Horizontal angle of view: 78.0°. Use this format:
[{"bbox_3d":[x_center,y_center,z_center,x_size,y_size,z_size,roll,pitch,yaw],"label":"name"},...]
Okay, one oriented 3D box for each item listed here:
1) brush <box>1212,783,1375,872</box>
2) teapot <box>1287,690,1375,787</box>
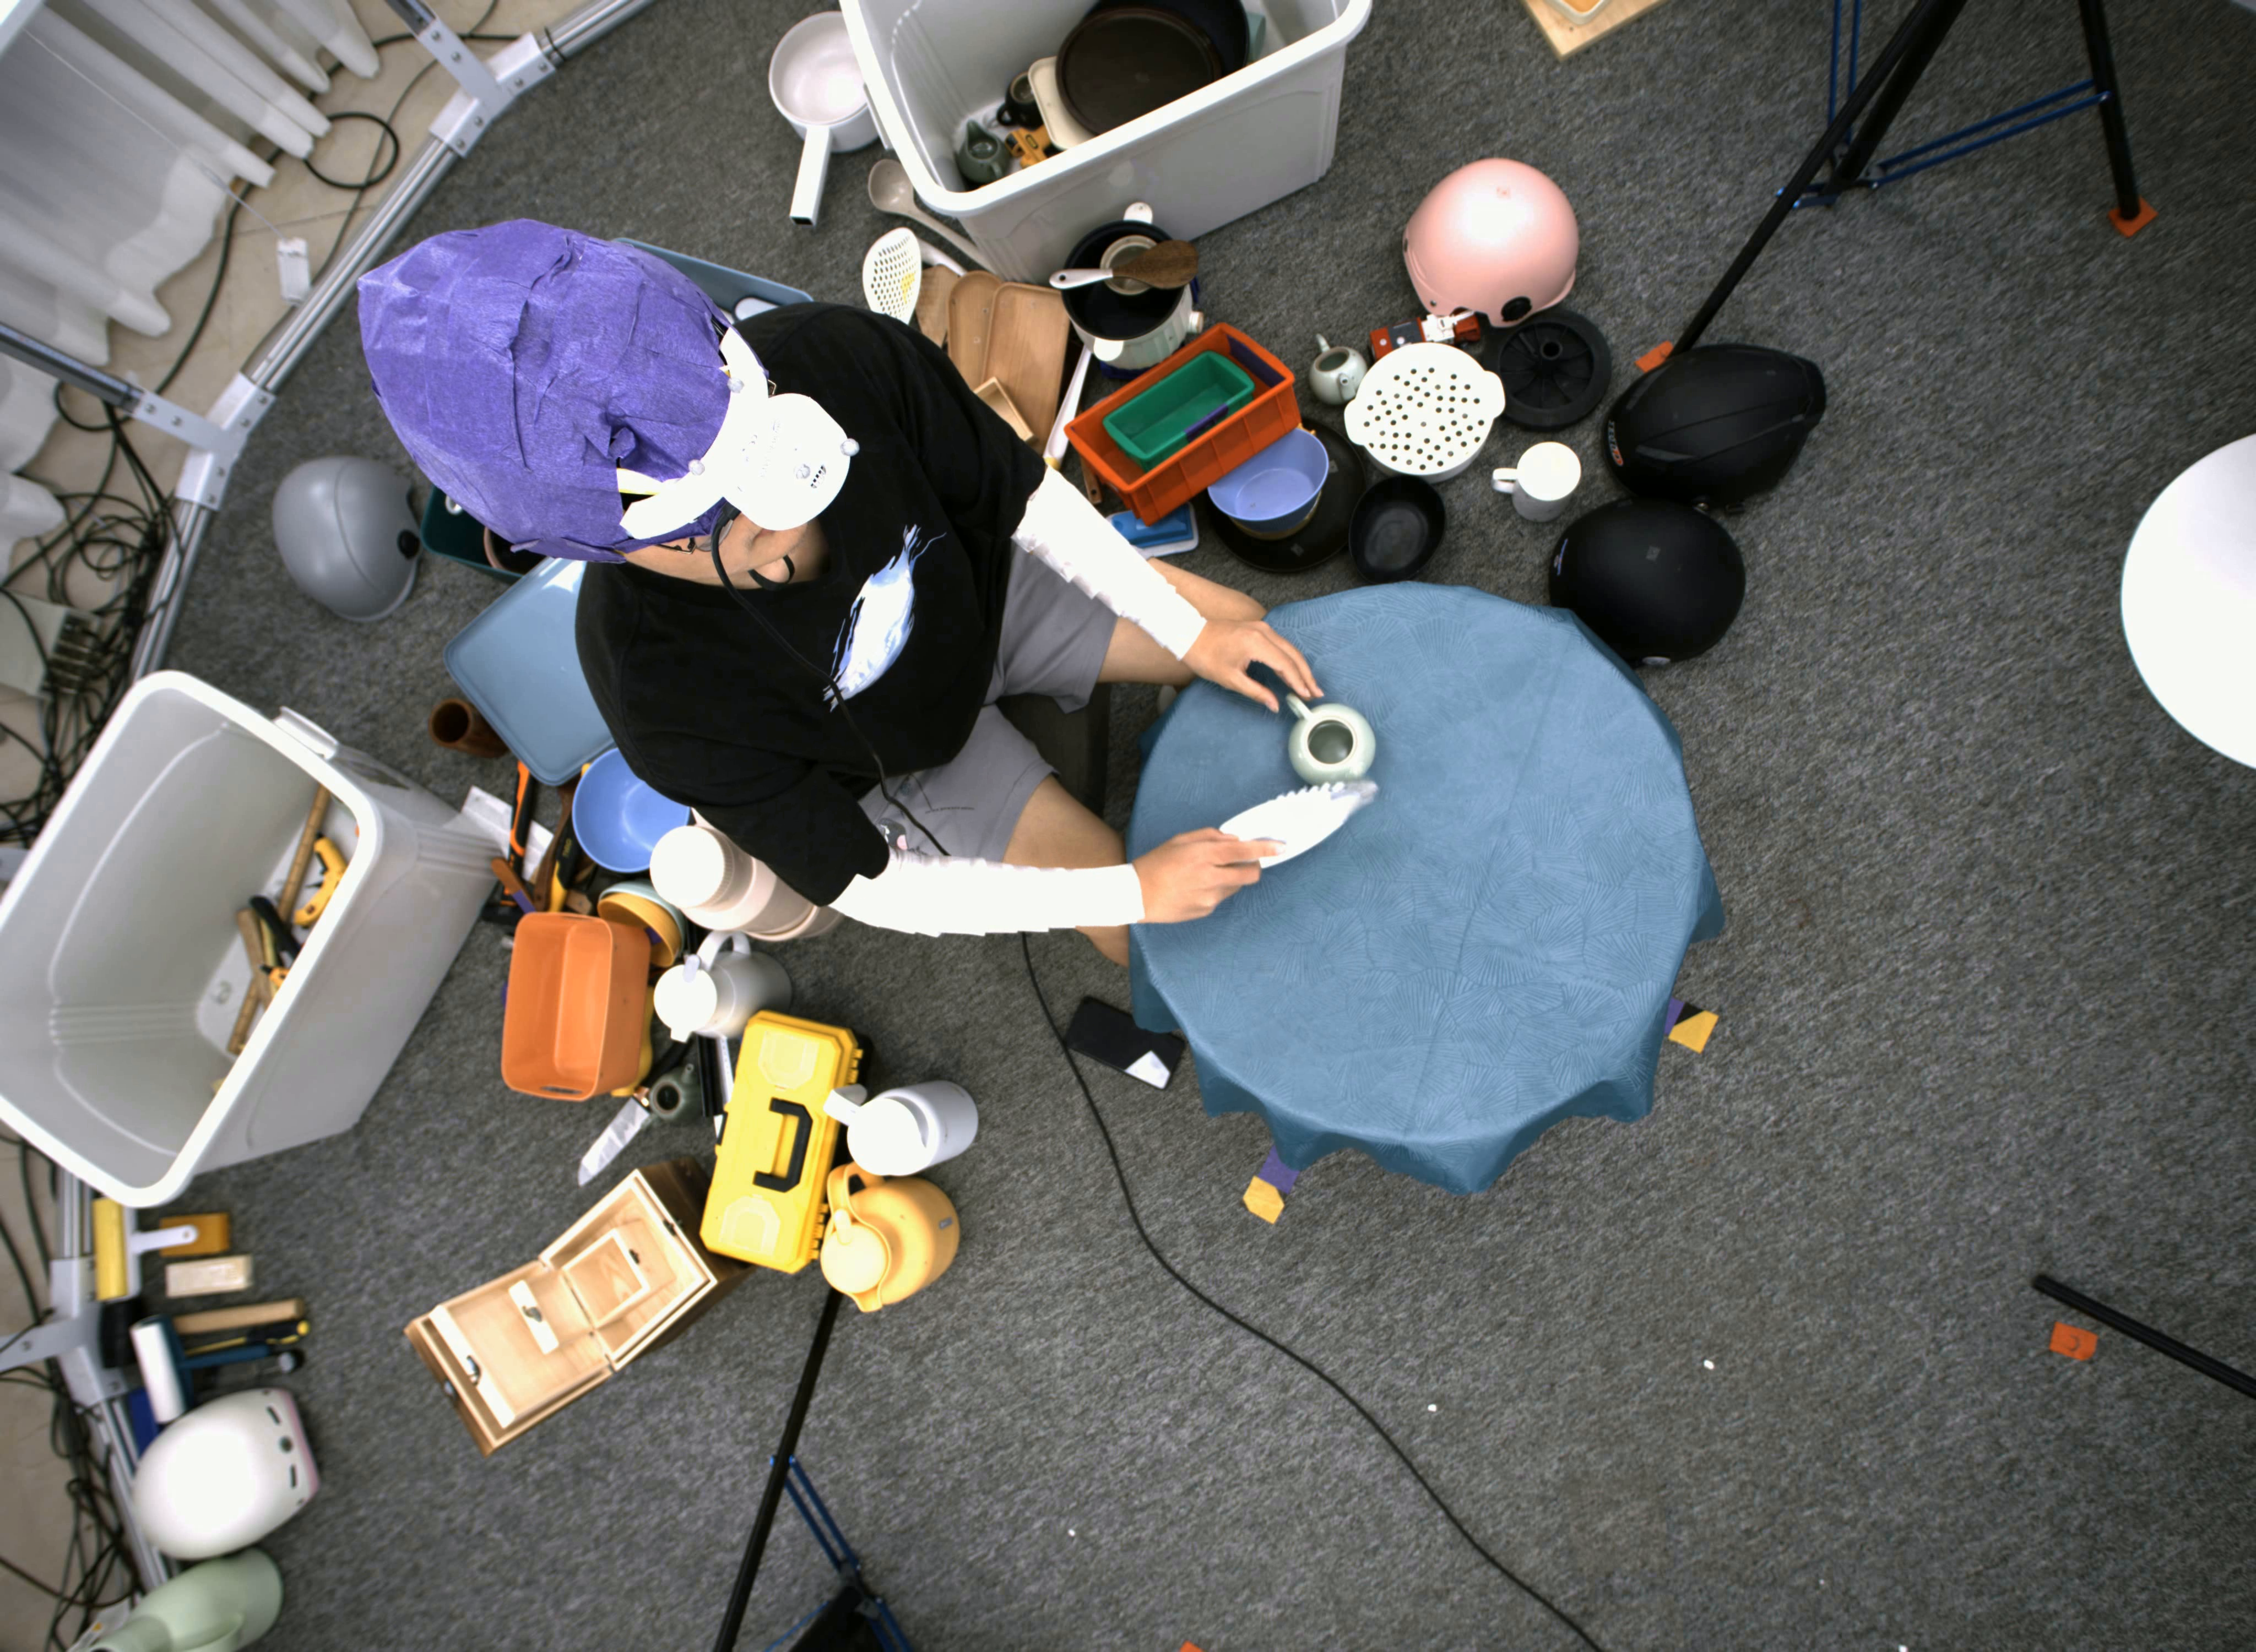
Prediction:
[{"bbox_3d":[0.161,0.002,1.391,0.178,0.092,0.062,-21,102,34],"label":"brush"},{"bbox_3d":[0.208,-0.092,1.448,0.092,0.061,0.128,-36,81,8],"label":"teapot"}]
